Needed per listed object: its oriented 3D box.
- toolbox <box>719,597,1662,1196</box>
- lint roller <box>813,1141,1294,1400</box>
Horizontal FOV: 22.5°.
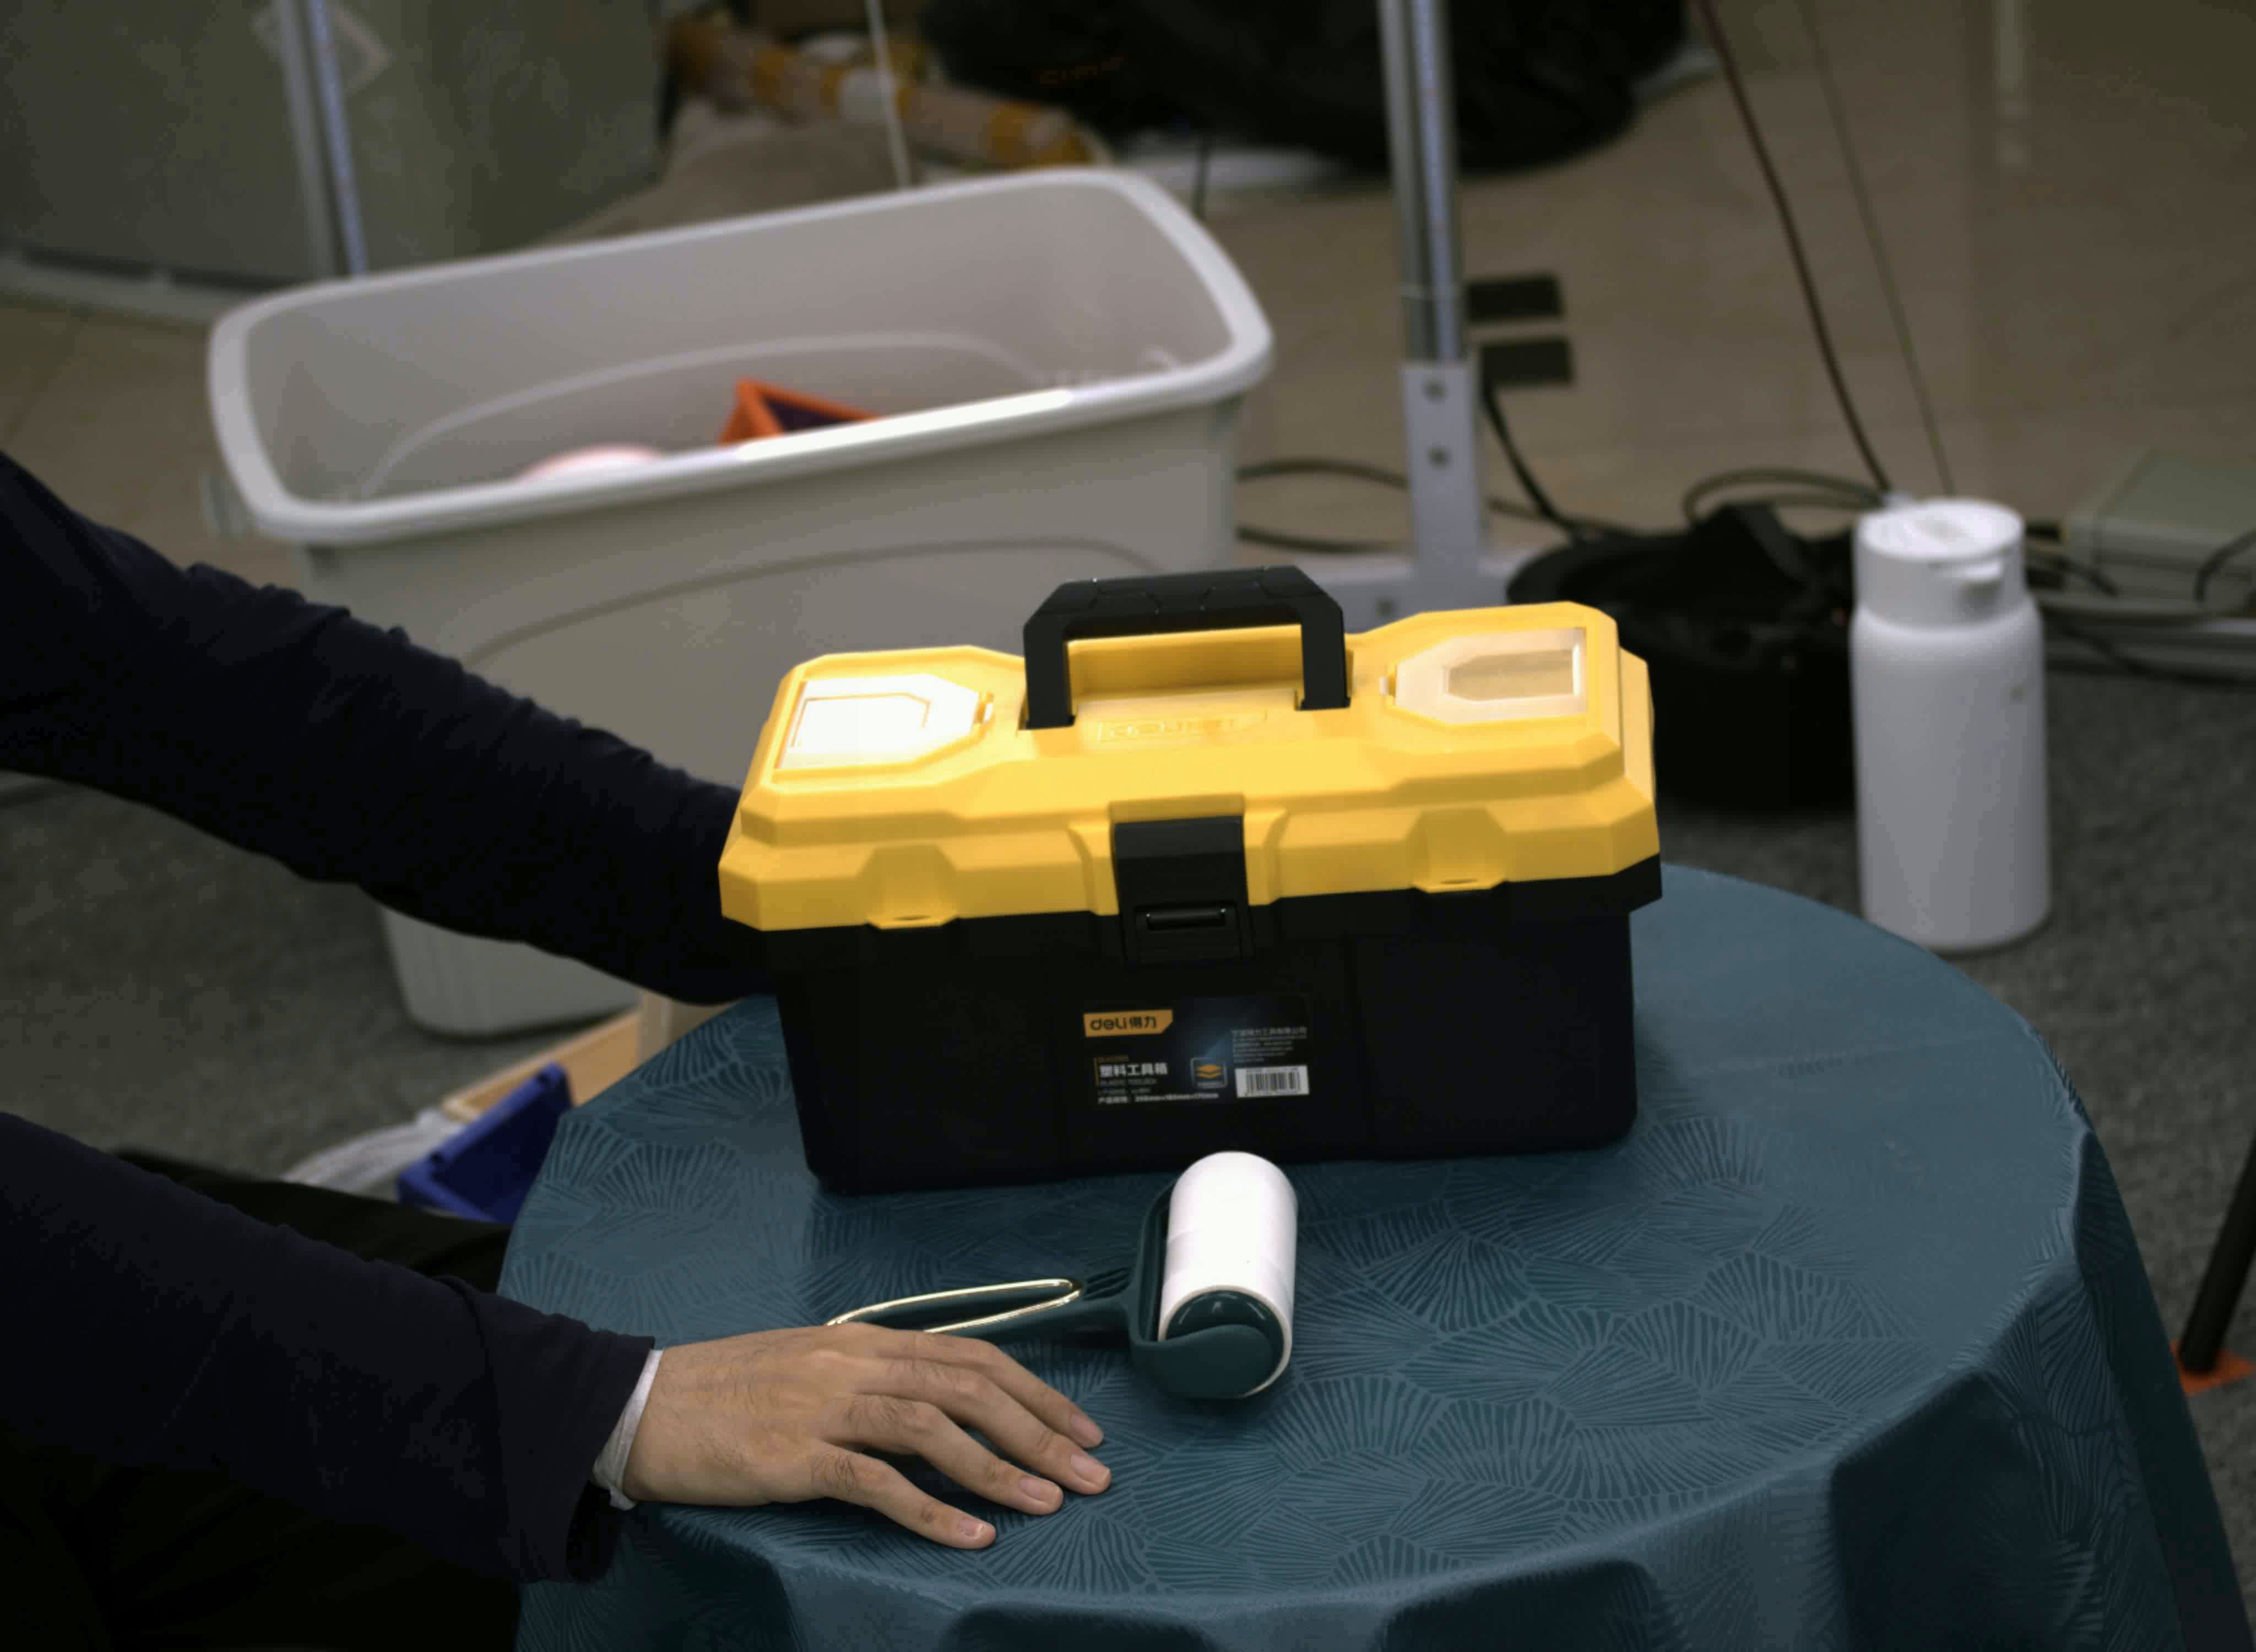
[{"bbox_3d":[0.030,0.029,2.172,0.351,0.175,0.178,-4,25,6],"label":"toolbox"},{"bbox_3d":[-0.030,0.170,2.046,0.180,0.049,0.132,-8,25,7],"label":"lint roller"}]
